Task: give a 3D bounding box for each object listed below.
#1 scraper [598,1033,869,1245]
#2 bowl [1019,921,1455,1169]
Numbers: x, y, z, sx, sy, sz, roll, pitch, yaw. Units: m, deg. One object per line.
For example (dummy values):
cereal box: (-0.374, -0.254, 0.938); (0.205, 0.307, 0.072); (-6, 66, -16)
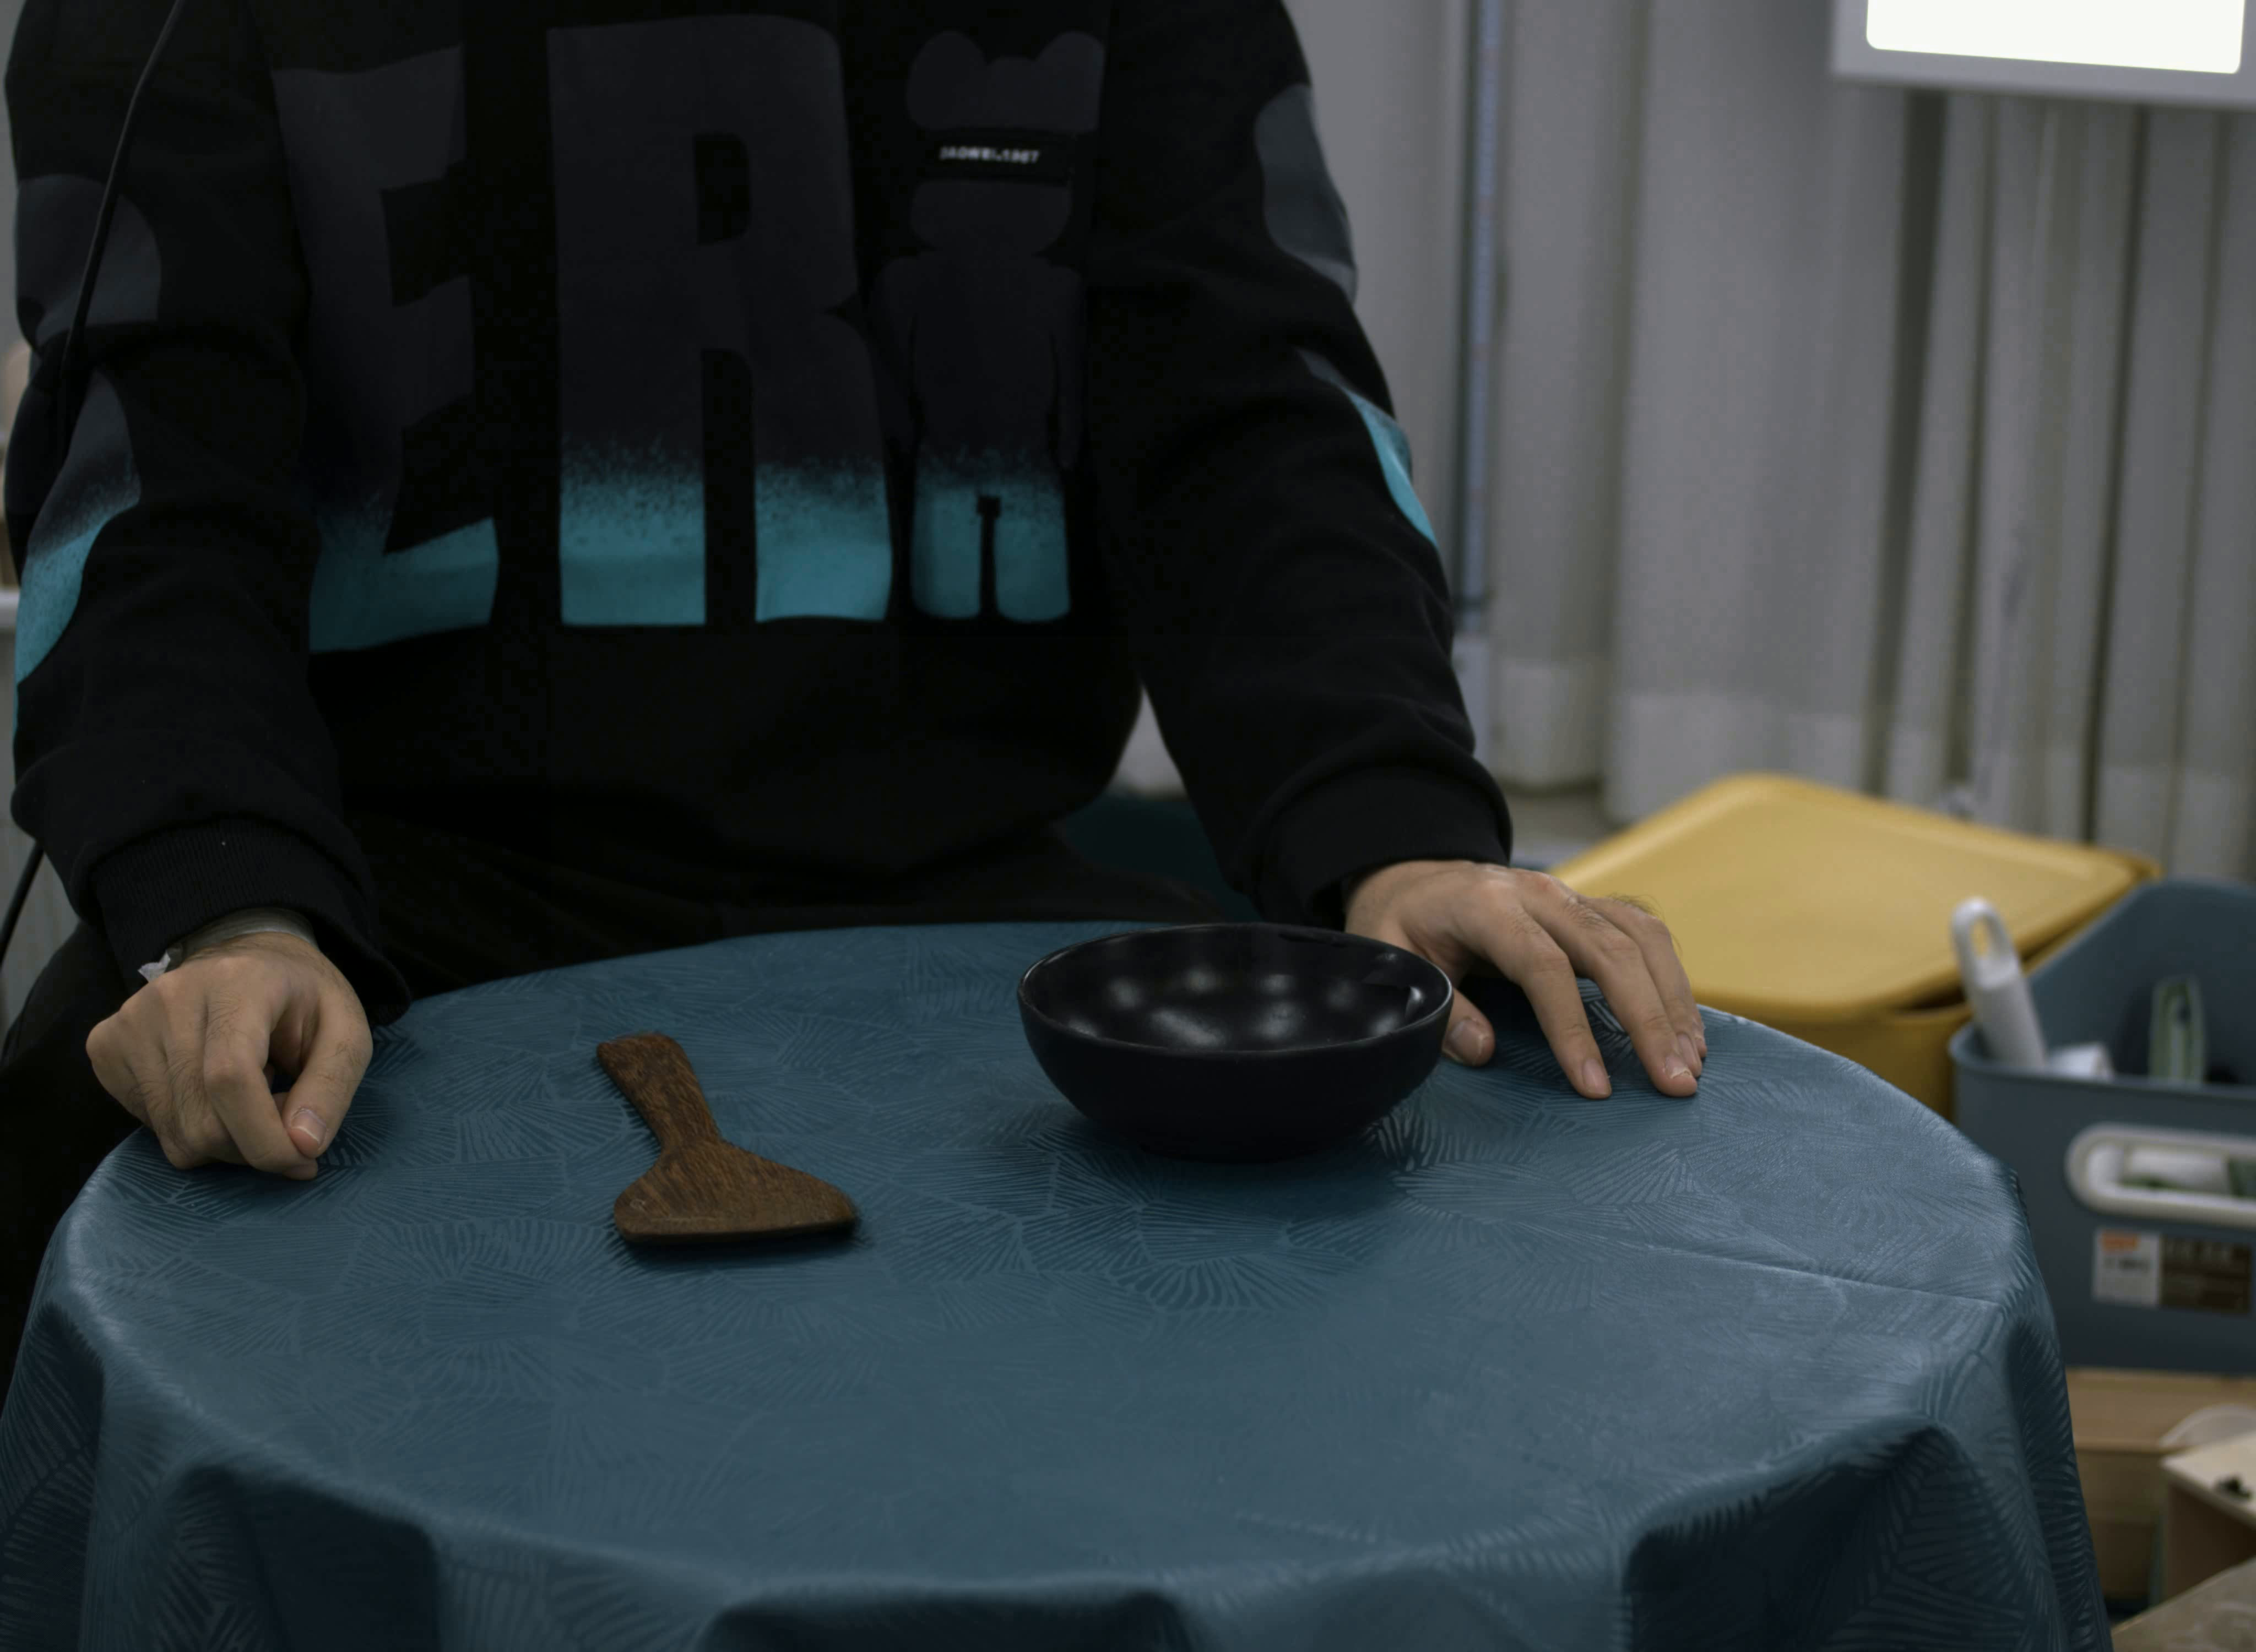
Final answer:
scraper: (-0.137, 0.098, 1.658); (0.076, 0.011, 0.209); (-2, 15, -15)
bowl: (0.036, 0.074, 1.677); (0.139, 0.050, 0.139); (-2, 16, 1)
